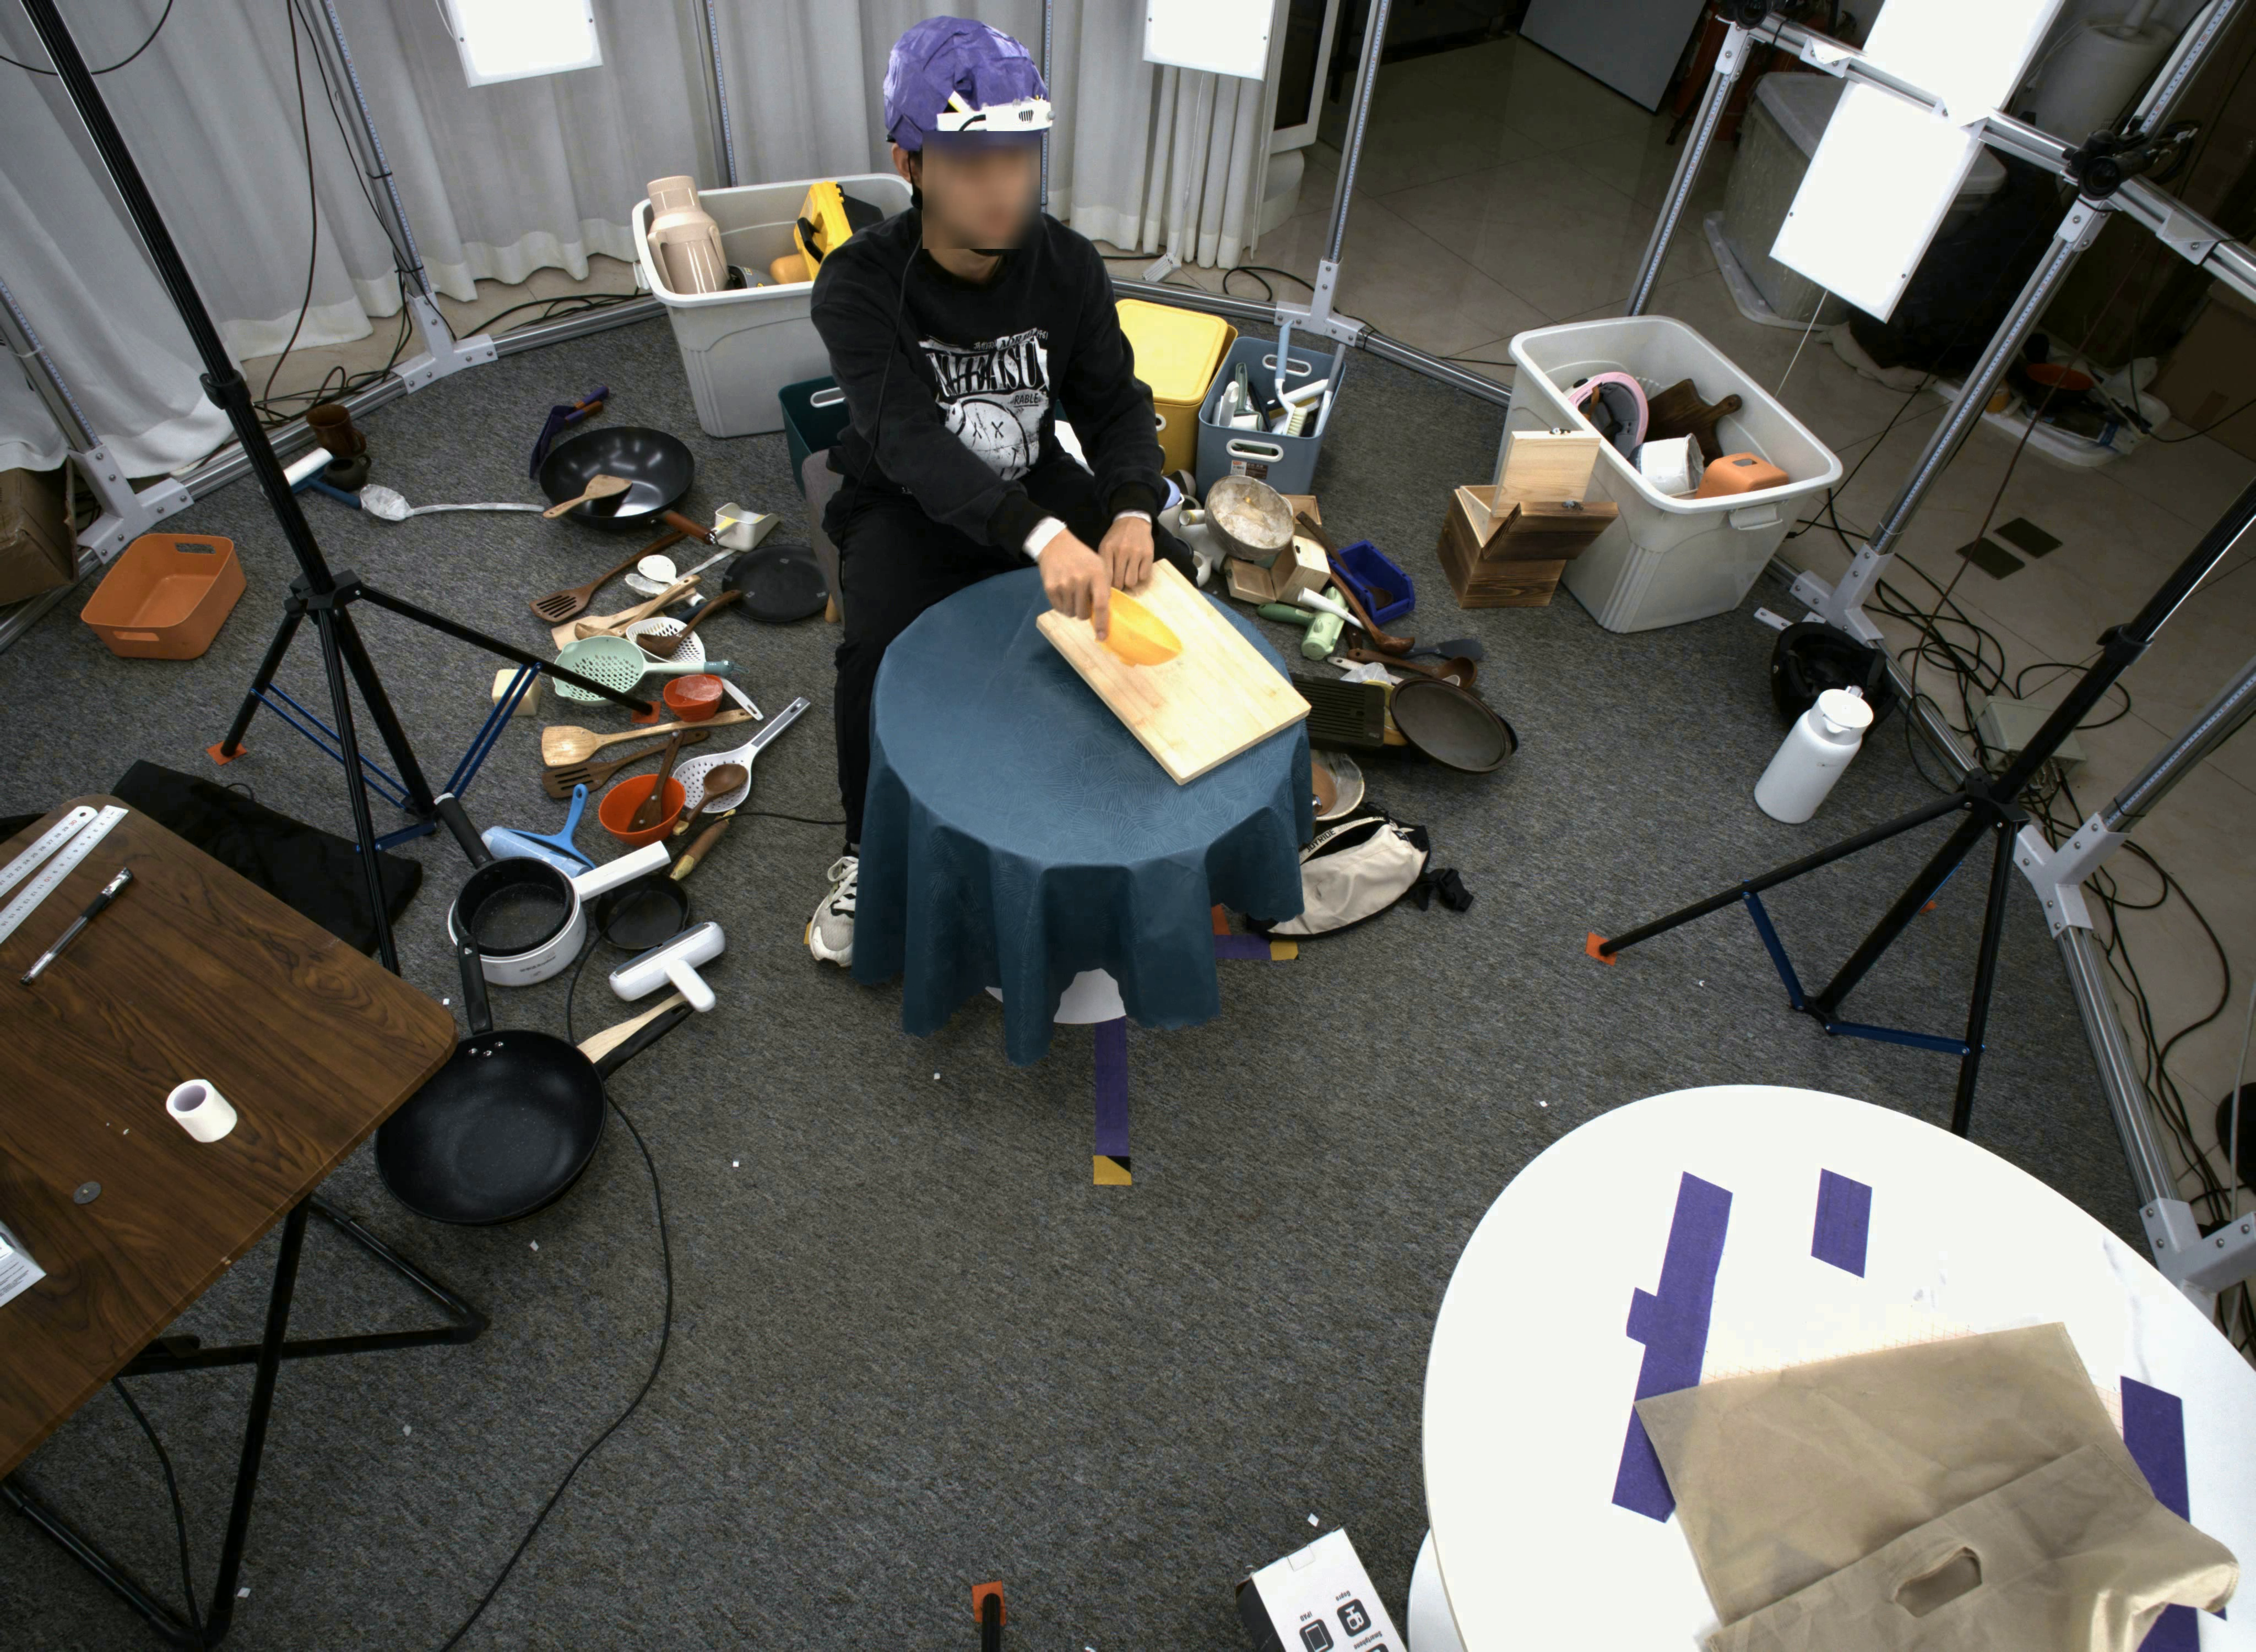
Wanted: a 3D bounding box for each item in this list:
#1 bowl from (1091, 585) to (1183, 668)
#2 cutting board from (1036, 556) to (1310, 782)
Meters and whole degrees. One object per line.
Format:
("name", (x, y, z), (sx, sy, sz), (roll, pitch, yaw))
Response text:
("bowl", (0.001, -0.255, 1.717), (0.144, 0.059, 0.147), (35, 15, -11))
("cutting board", (0.062, -0.234, 1.855), (0.252, 0.023, 0.354), (-29, 63, -26))
